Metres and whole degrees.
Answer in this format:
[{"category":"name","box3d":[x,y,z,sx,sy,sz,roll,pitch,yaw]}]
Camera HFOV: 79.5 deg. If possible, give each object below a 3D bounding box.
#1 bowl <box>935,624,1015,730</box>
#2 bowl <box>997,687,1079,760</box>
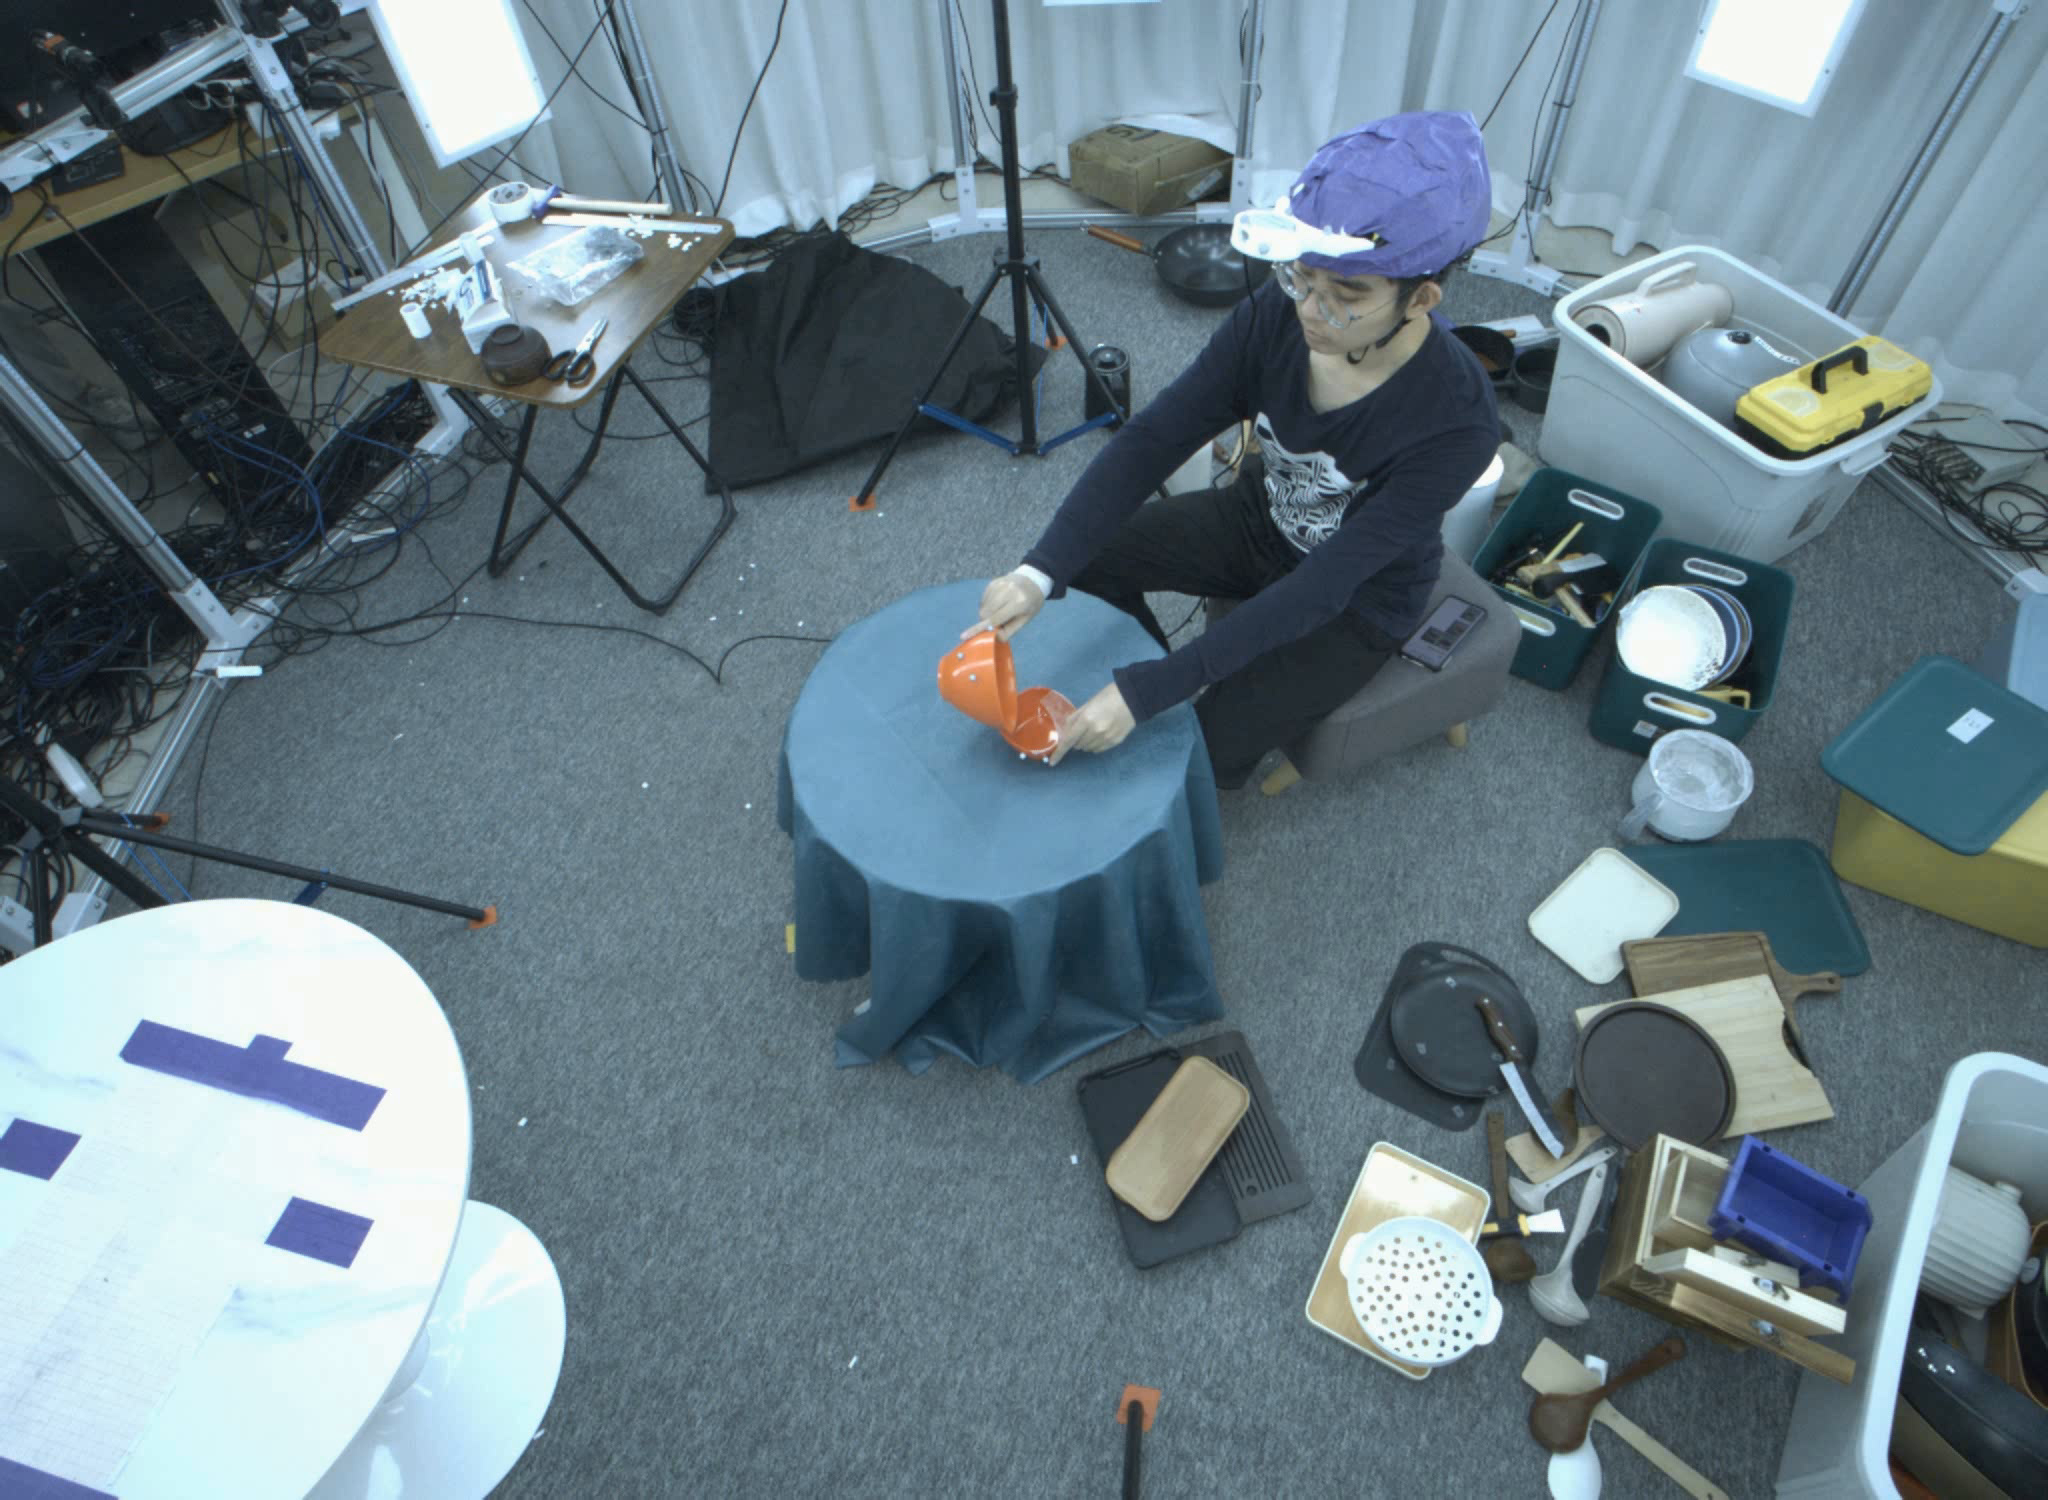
[{"category":"bowl","box3d":[-0.068,-0.100,1.712,0.103,0.151,0.147,-3,53,18]},{"category":"bowl","box3d":[0.021,-0.031,1.786,0.119,0.052,0.117,0,53,2]}]
